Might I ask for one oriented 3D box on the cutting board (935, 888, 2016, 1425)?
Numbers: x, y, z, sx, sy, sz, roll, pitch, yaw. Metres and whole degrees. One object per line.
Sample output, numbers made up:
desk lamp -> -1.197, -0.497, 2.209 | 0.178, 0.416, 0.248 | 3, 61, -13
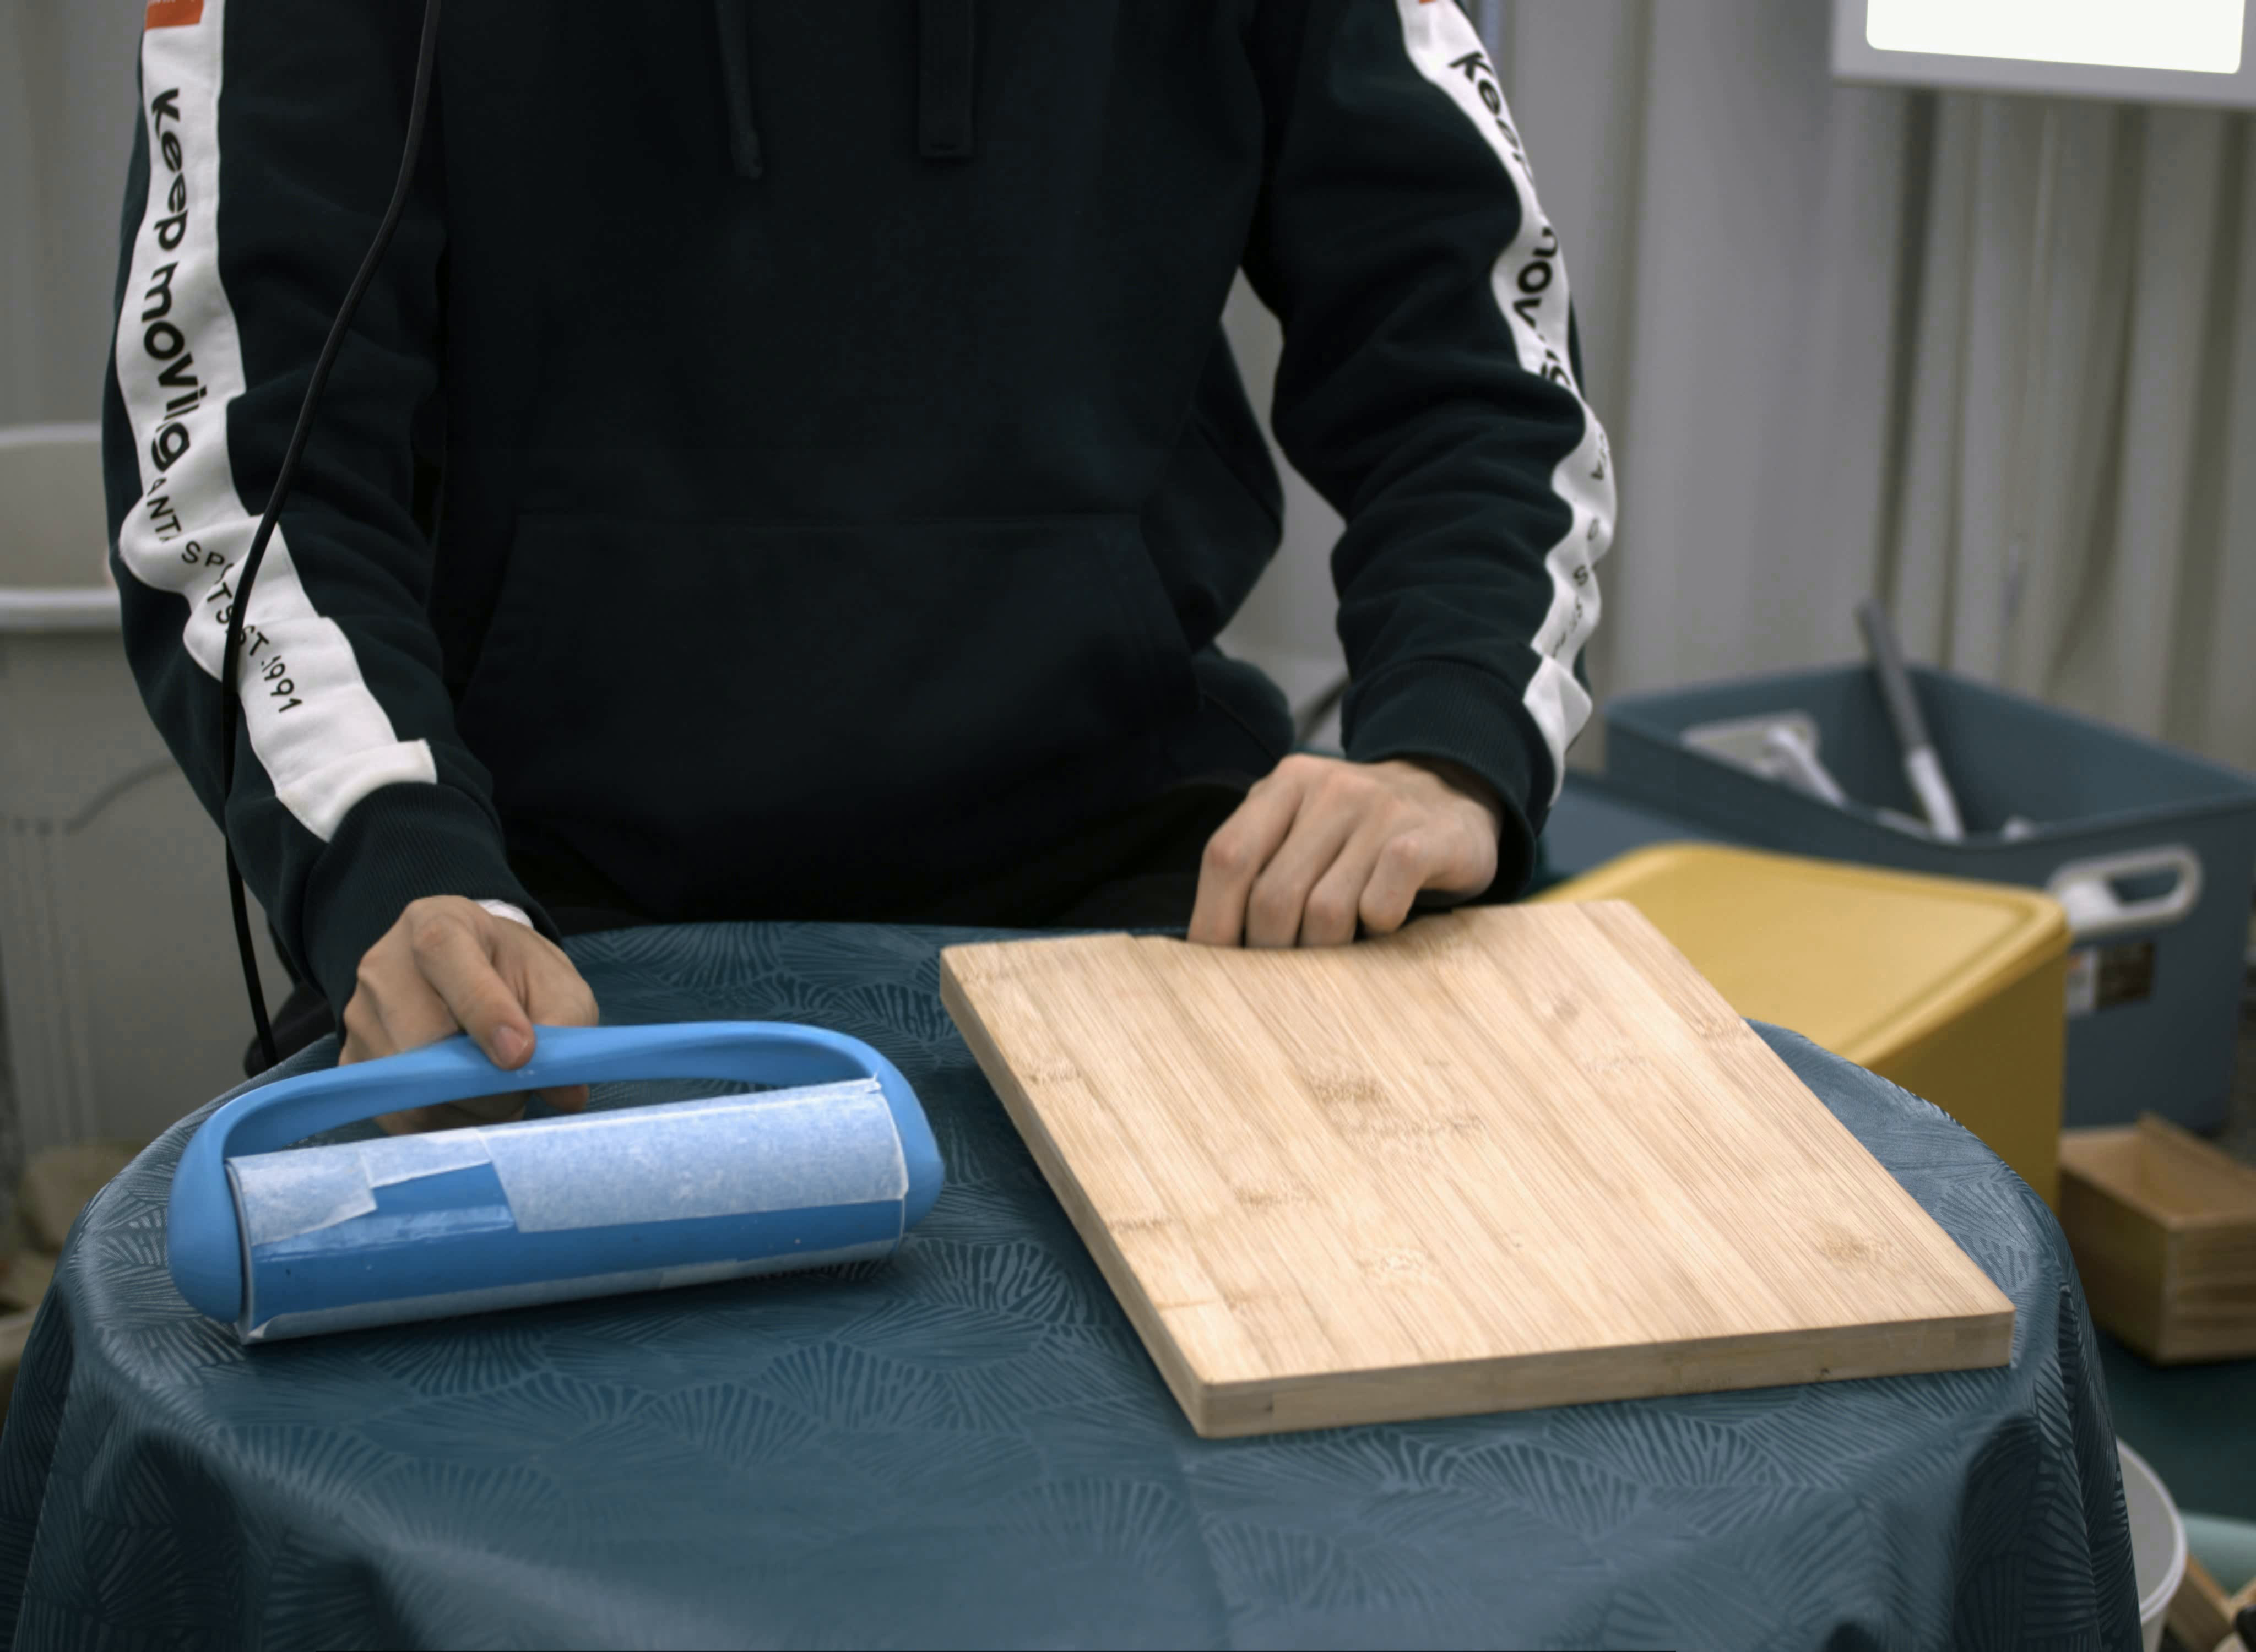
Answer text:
cutting board -> 0.093, 0.094, 1.611 | 0.251, 0.024, 0.345 | -4, 21, -15

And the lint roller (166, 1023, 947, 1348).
lint roller -> -0.184, 0.092, 1.564 | 0.229, 0.068, 0.178 | -8, 20, -21
